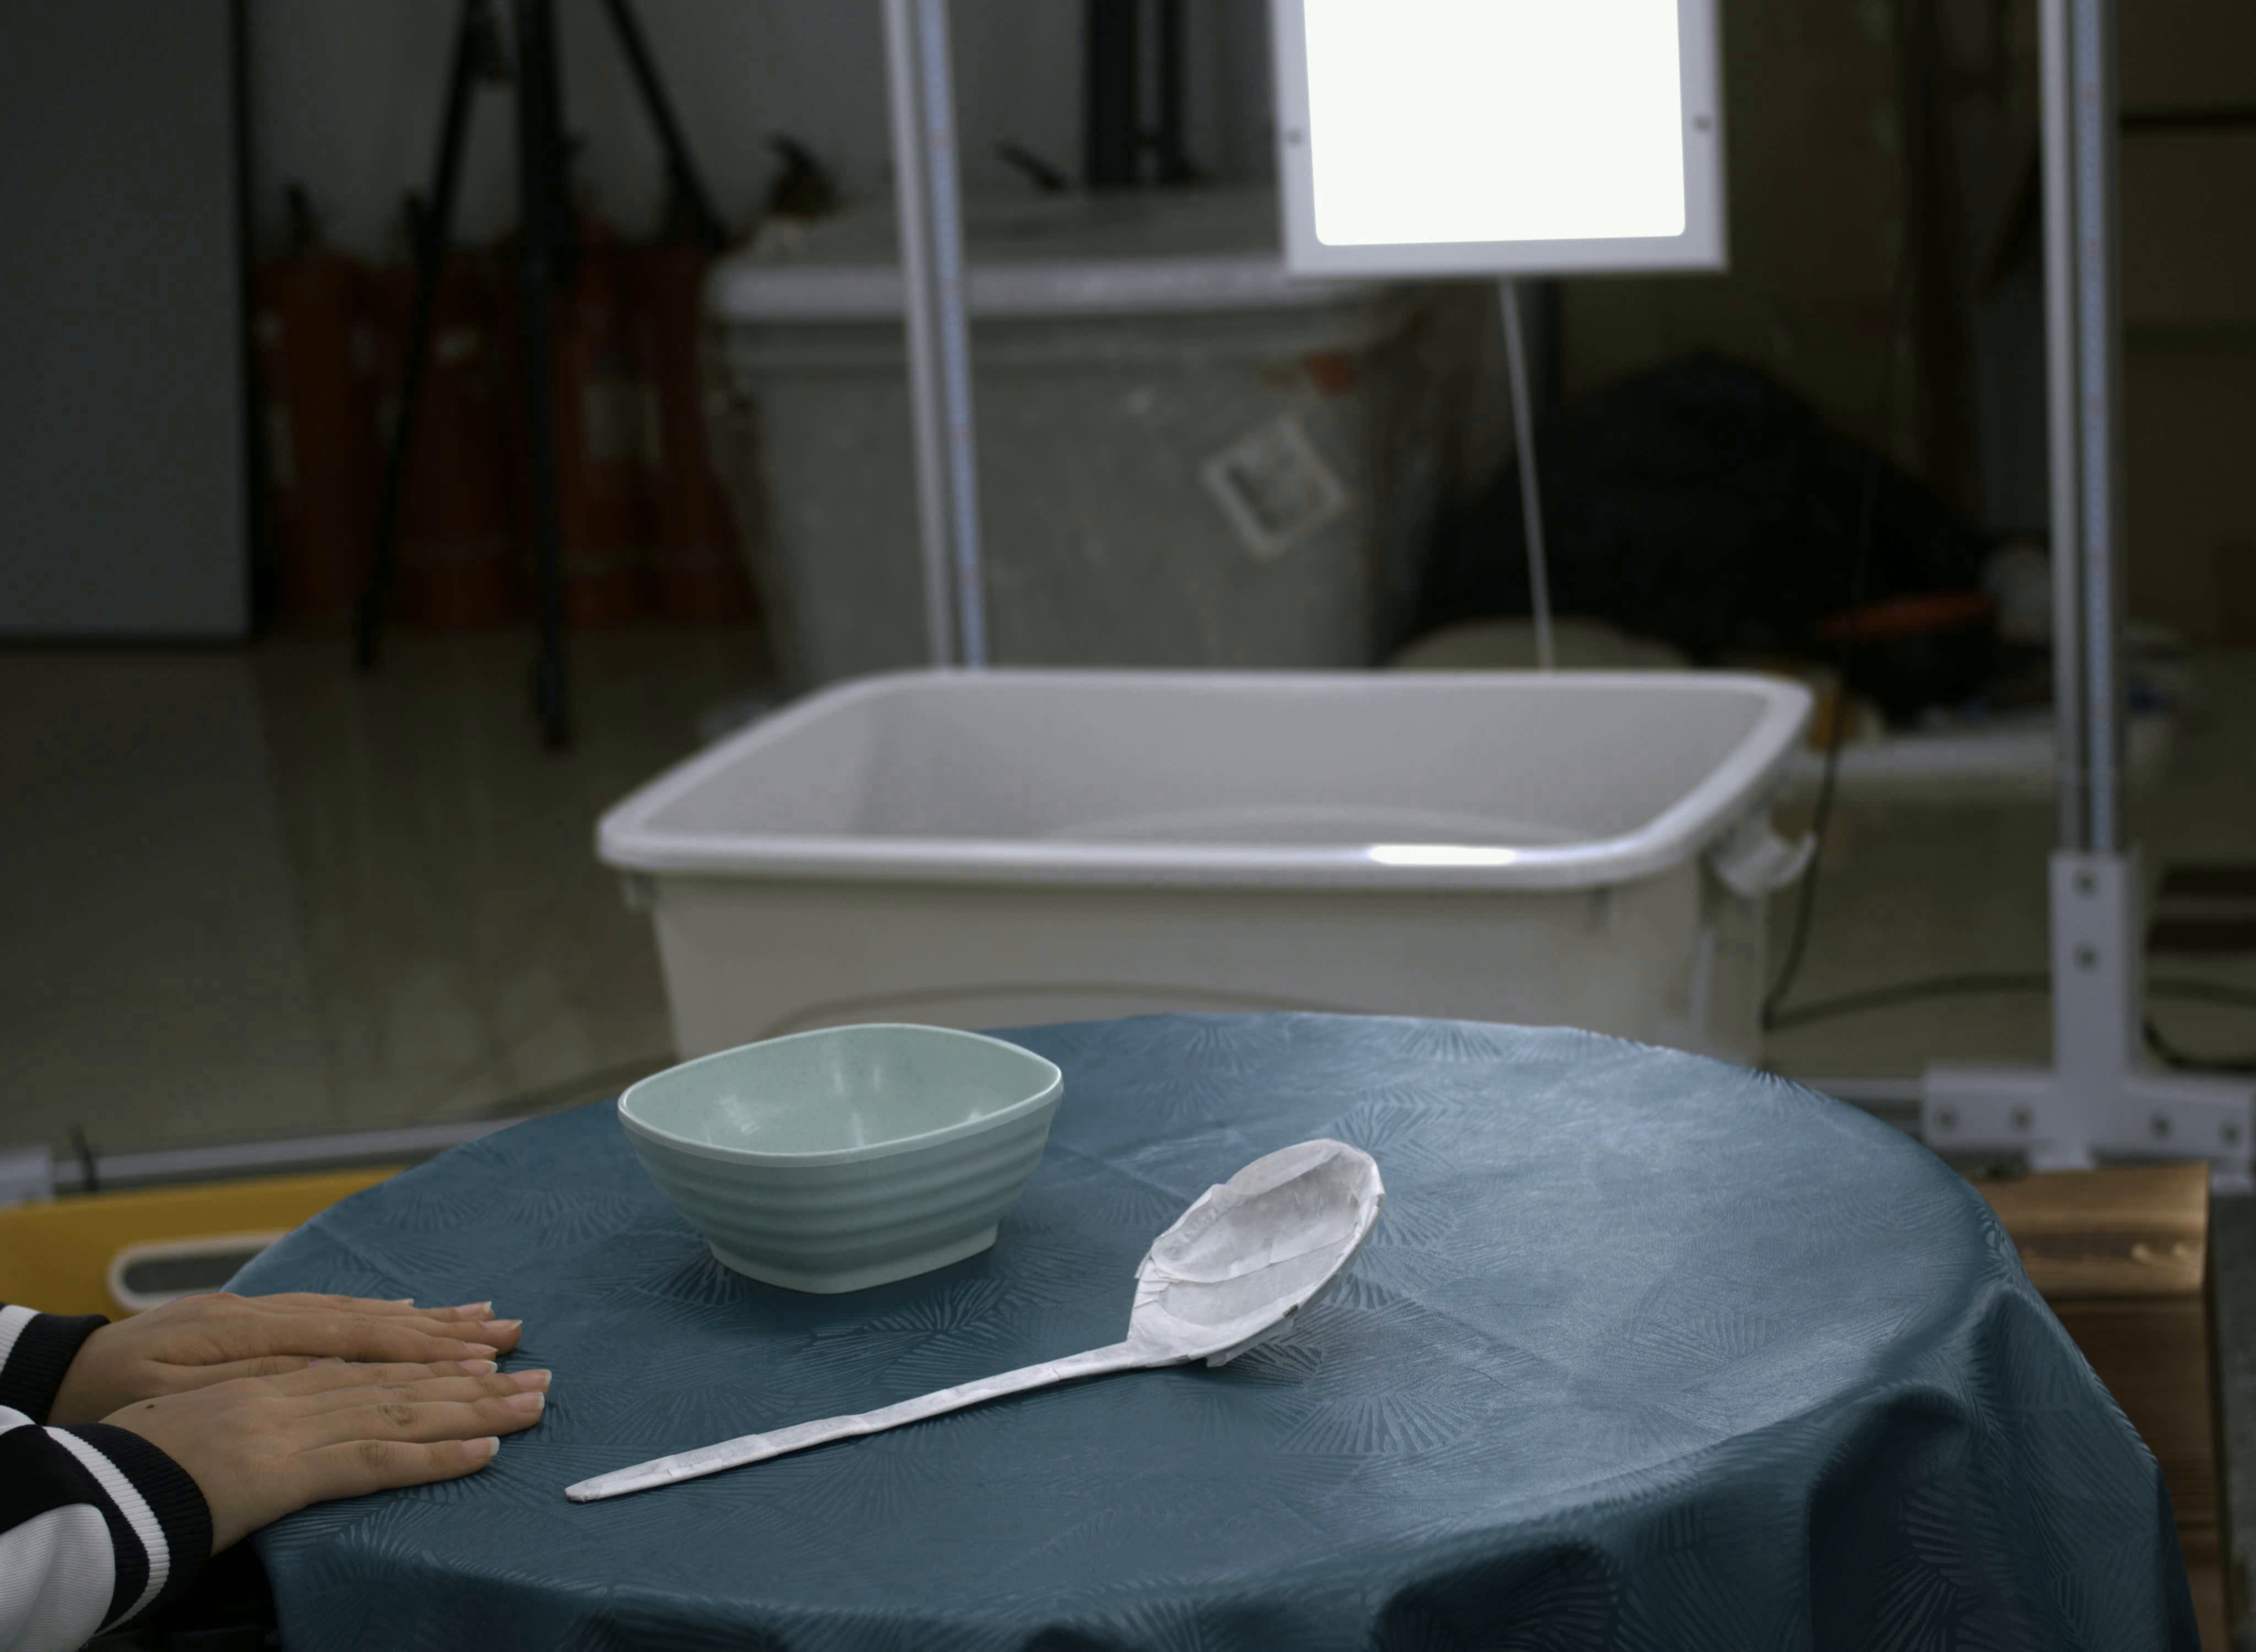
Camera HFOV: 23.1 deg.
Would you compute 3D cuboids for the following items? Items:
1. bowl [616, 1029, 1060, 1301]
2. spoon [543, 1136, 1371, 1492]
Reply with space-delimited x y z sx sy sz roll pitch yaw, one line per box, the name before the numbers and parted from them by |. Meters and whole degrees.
bowl | -0.096 0.117 1.859 0.151 0.059 0.151 -4 14 0
spoon | -0.053 0.149 1.706 0.272 0.059 0.102 -10 10 -19
